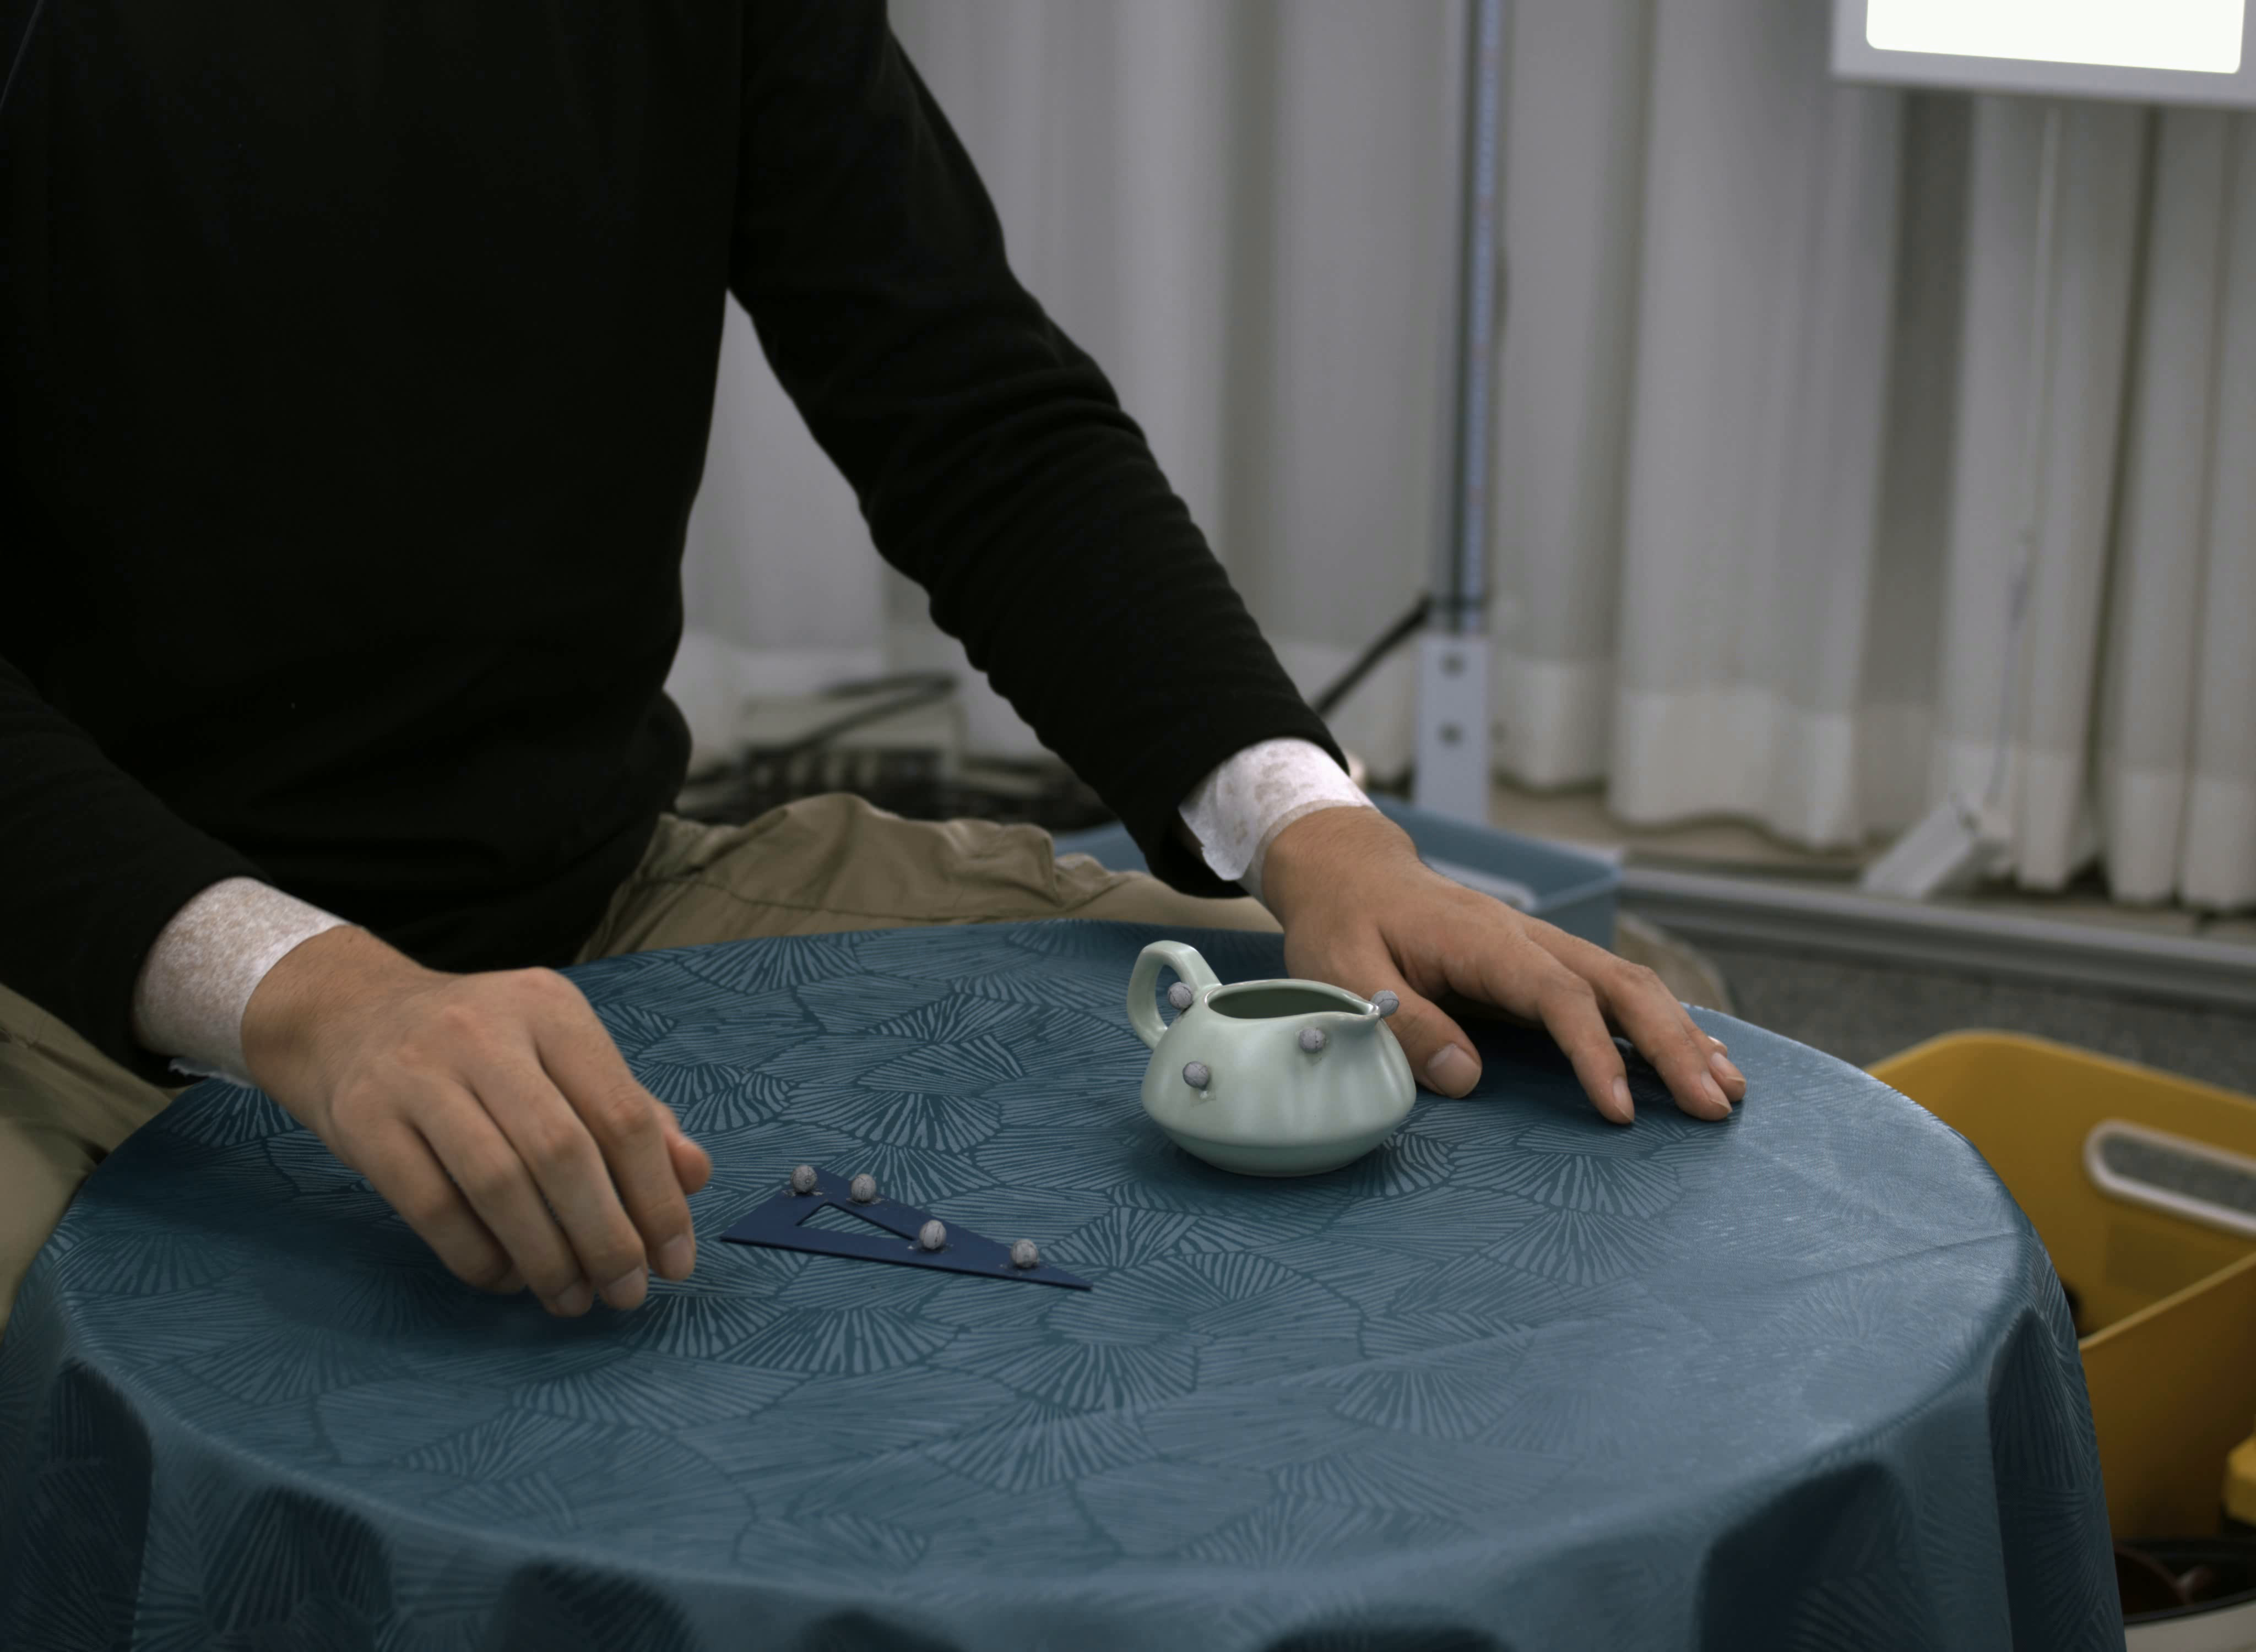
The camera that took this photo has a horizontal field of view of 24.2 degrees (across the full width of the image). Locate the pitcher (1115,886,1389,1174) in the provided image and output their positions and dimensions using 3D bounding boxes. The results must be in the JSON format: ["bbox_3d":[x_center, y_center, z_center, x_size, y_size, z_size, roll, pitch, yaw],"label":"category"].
[{"bbox_3d":[0.034,0.065,1.663,0.086,0.061,0.106,-17,39,-23],"label":"pitcher"}]

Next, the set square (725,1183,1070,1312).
[{"bbox_3d":[-0.075,0.127,1.557,0.061,0.006,0.130,-9,18,-35],"label":"set square"}]
